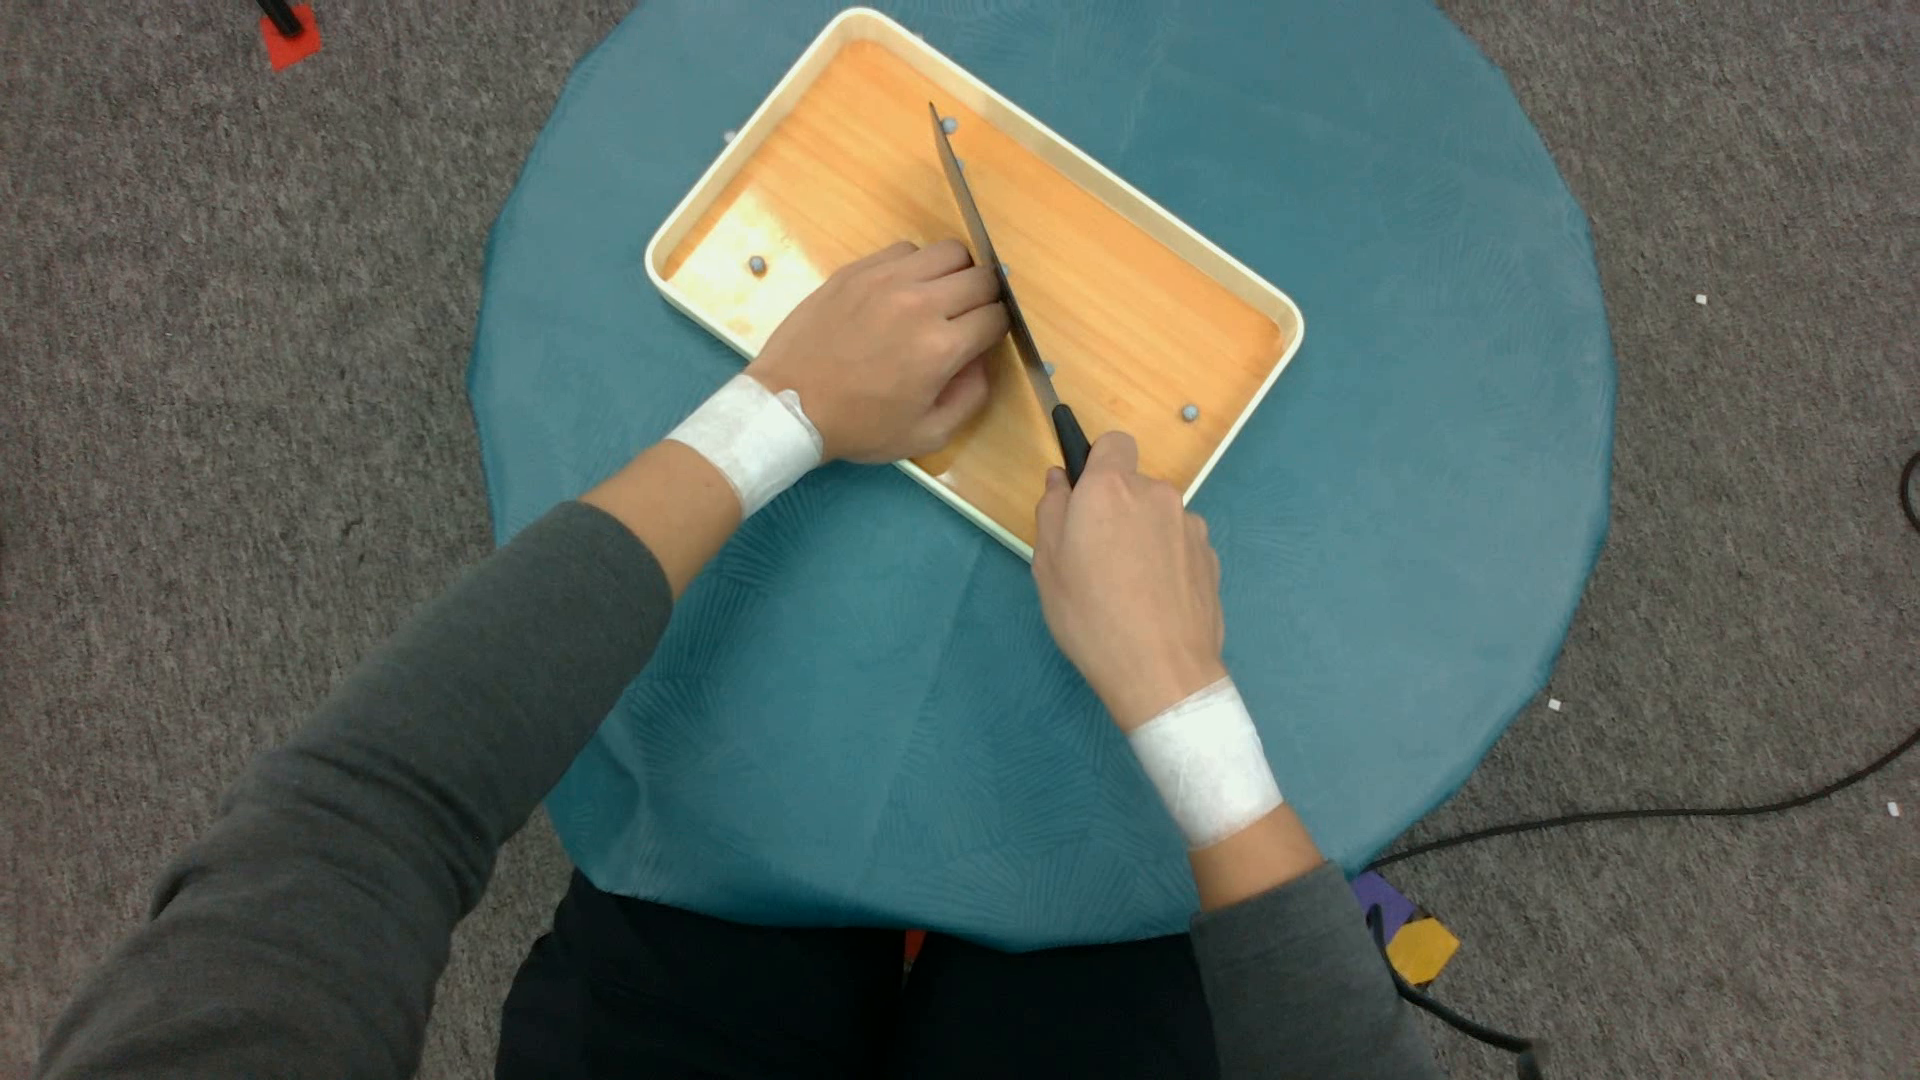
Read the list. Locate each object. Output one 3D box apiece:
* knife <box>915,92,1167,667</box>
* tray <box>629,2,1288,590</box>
[{"bbox_3d":[0.033,-0.080,0.668,0.021,0.081,0.303,-21,73,-1],"label":"knife"},{"bbox_3d":[0.000,-0.130,0.716,0.300,0.027,0.192,36,79,4],"label":"tray"}]
